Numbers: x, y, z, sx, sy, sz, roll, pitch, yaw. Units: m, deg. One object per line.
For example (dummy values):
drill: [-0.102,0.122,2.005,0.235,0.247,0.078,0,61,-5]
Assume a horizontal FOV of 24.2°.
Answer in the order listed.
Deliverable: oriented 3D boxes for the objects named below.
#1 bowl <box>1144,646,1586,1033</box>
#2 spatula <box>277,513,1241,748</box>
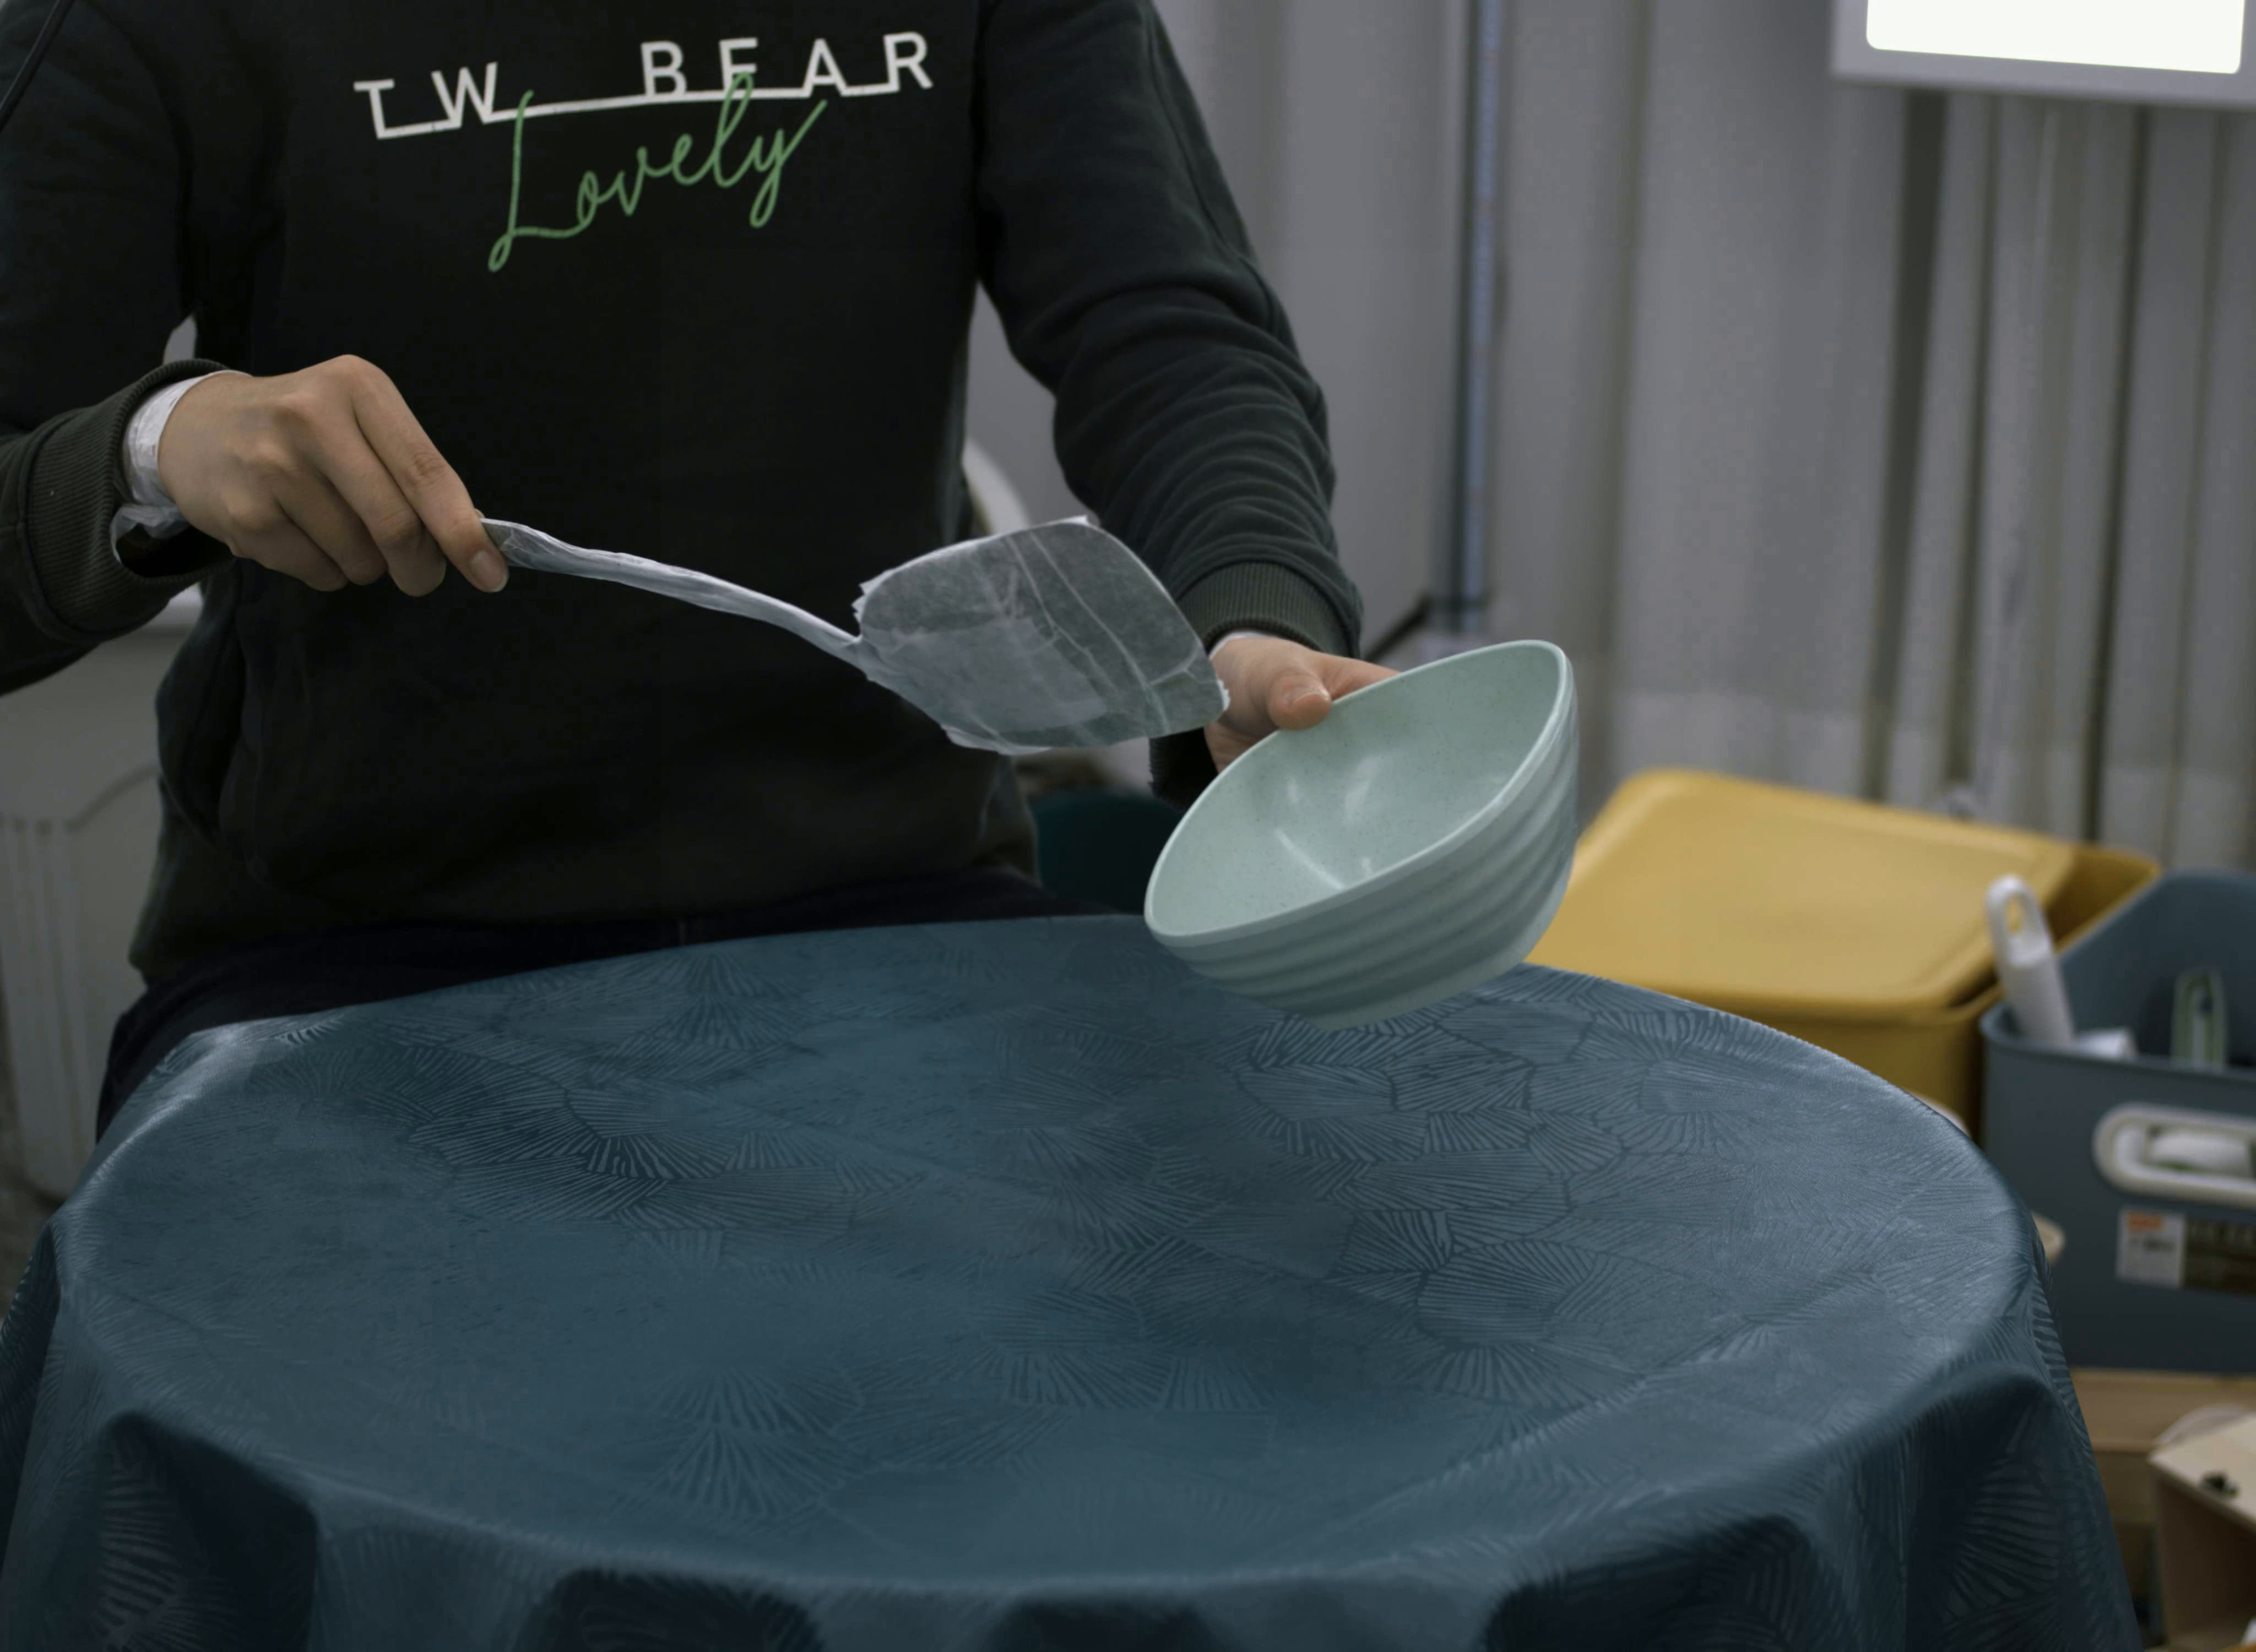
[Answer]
bowl: [0.081,0.012,1.573,0.151,0.059,0.150,-24,24,12]
spatula: [-0.128,-0.074,1.585,0.360,0.100,0.044,13,63,37]
